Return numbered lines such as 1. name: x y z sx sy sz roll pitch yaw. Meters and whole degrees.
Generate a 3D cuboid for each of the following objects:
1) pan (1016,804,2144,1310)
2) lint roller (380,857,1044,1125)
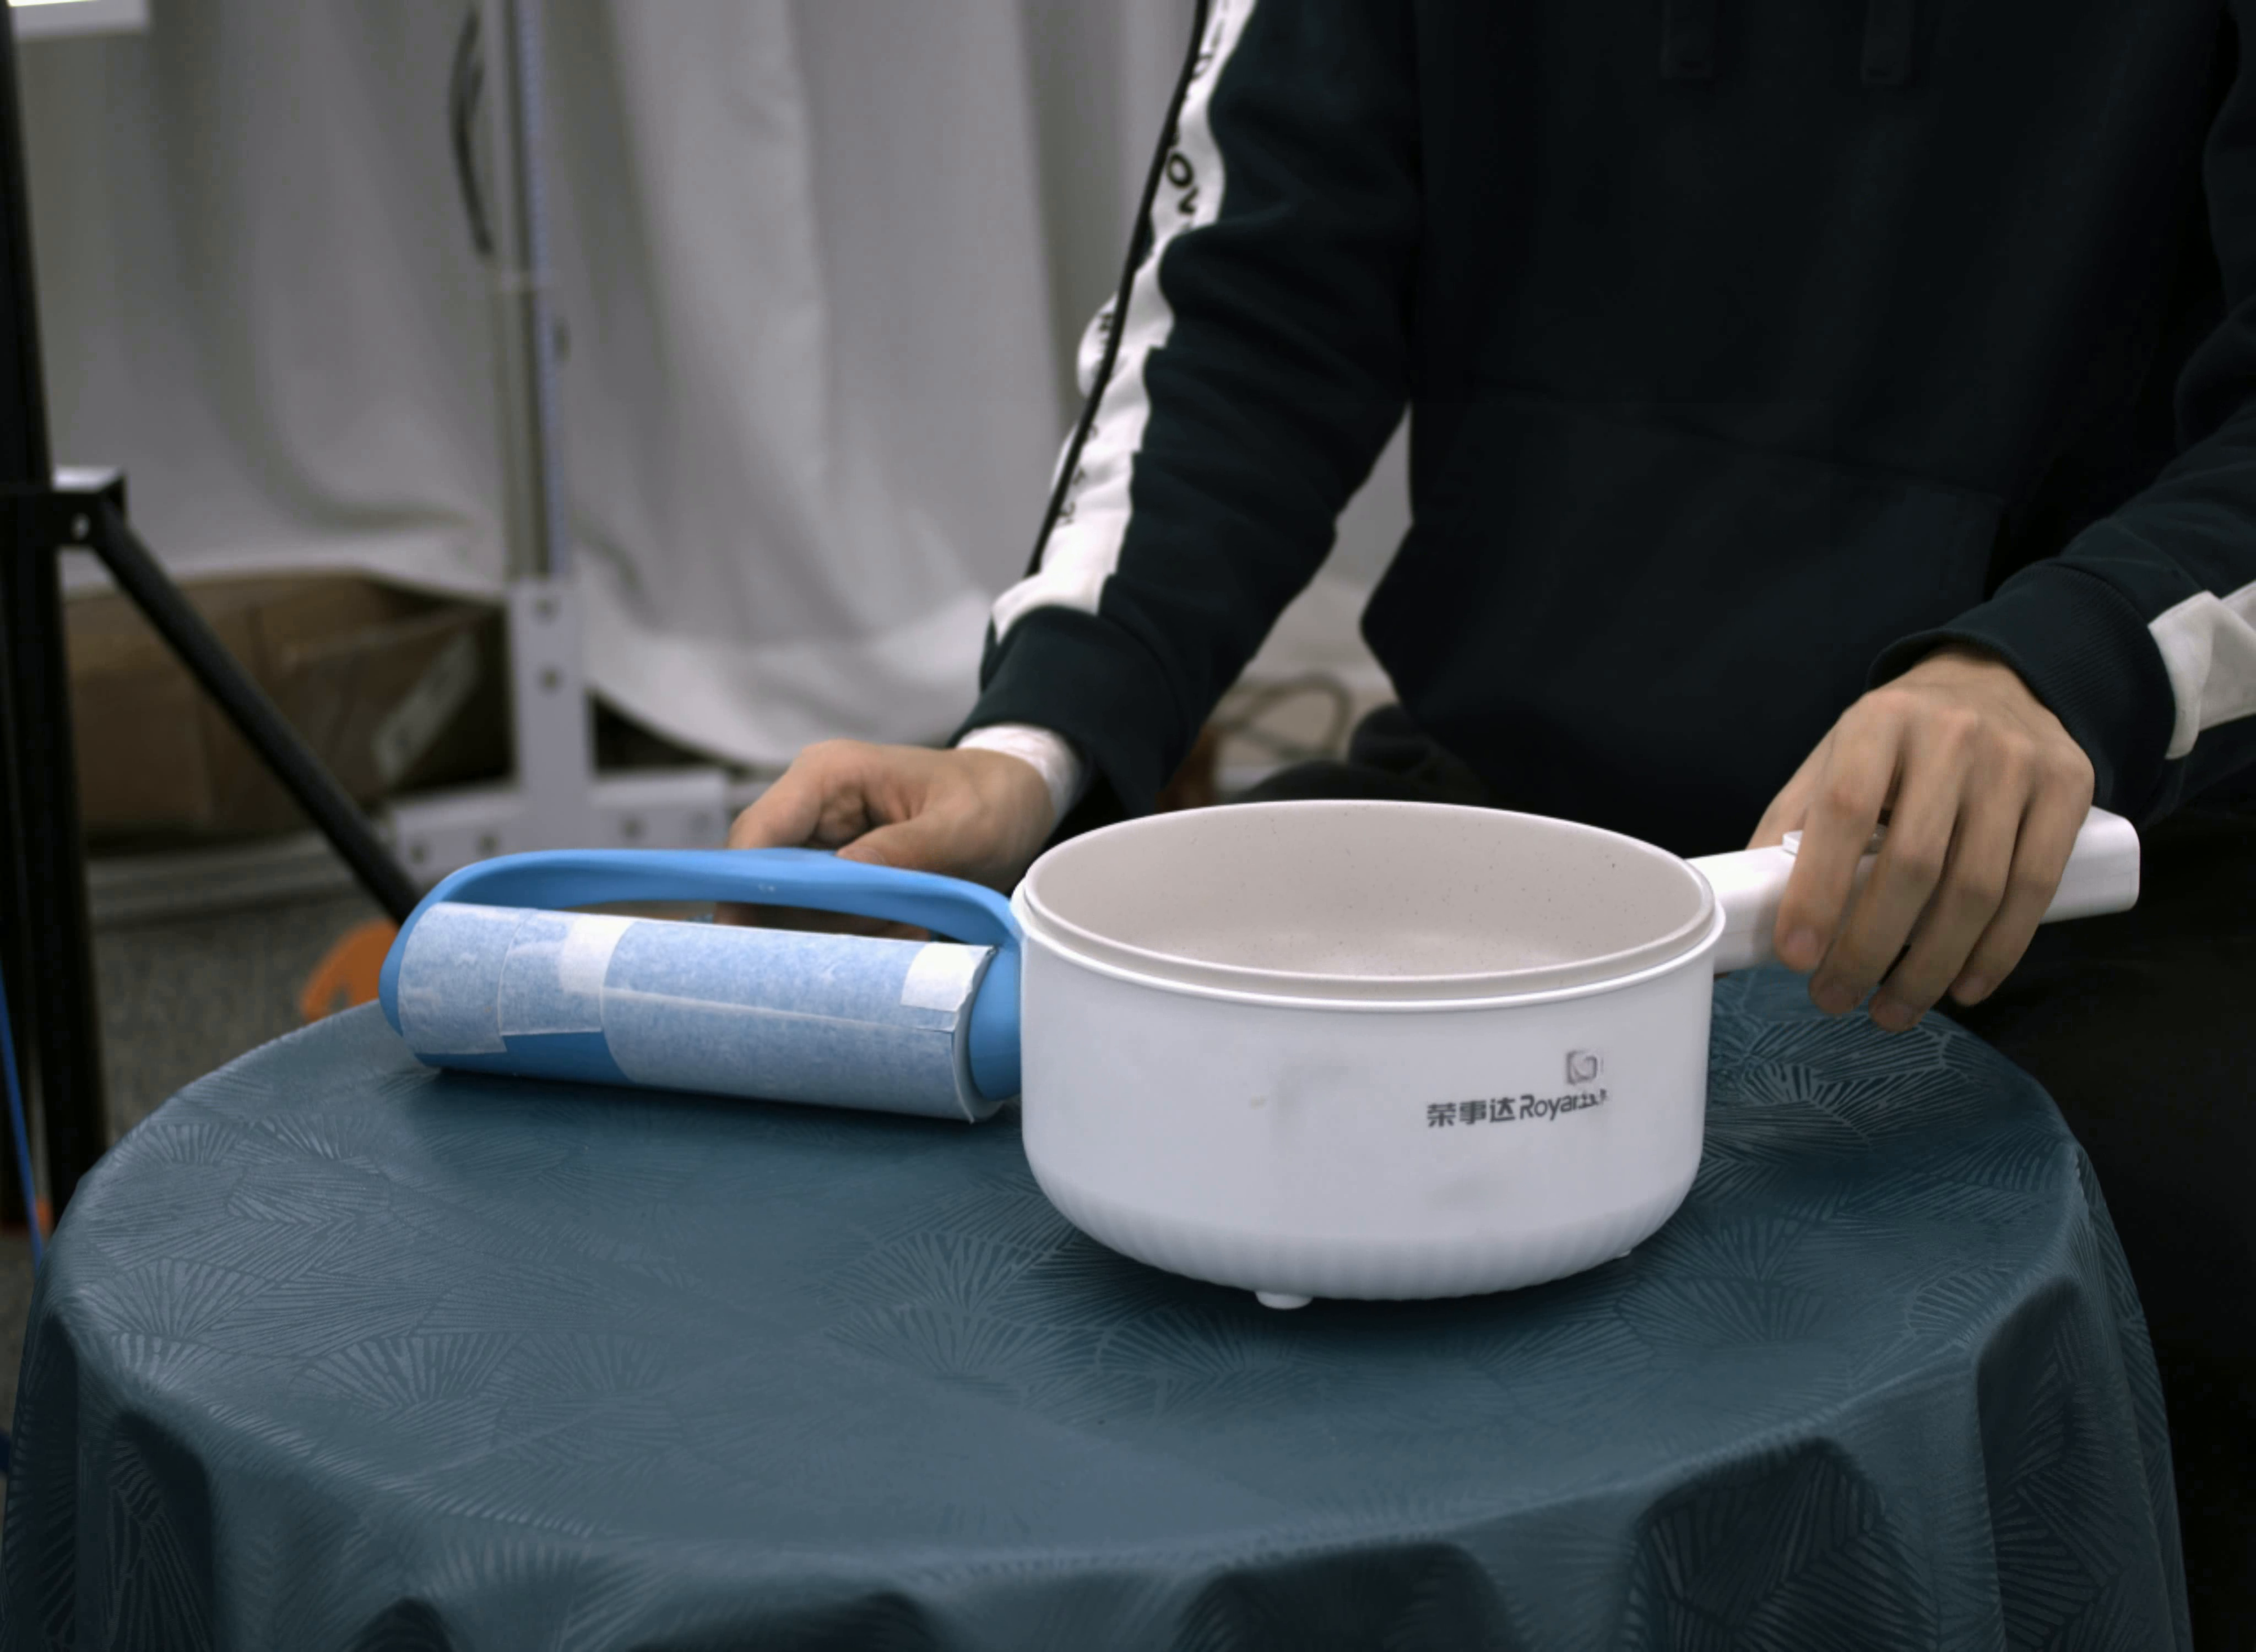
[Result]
1. pan: 0.136 0.060 1.530 0.347 0.102 0.205 -5 15 -24
2. lint roller: -0.110 0.040 1.711 0.232 0.068 0.178 2 18 21
